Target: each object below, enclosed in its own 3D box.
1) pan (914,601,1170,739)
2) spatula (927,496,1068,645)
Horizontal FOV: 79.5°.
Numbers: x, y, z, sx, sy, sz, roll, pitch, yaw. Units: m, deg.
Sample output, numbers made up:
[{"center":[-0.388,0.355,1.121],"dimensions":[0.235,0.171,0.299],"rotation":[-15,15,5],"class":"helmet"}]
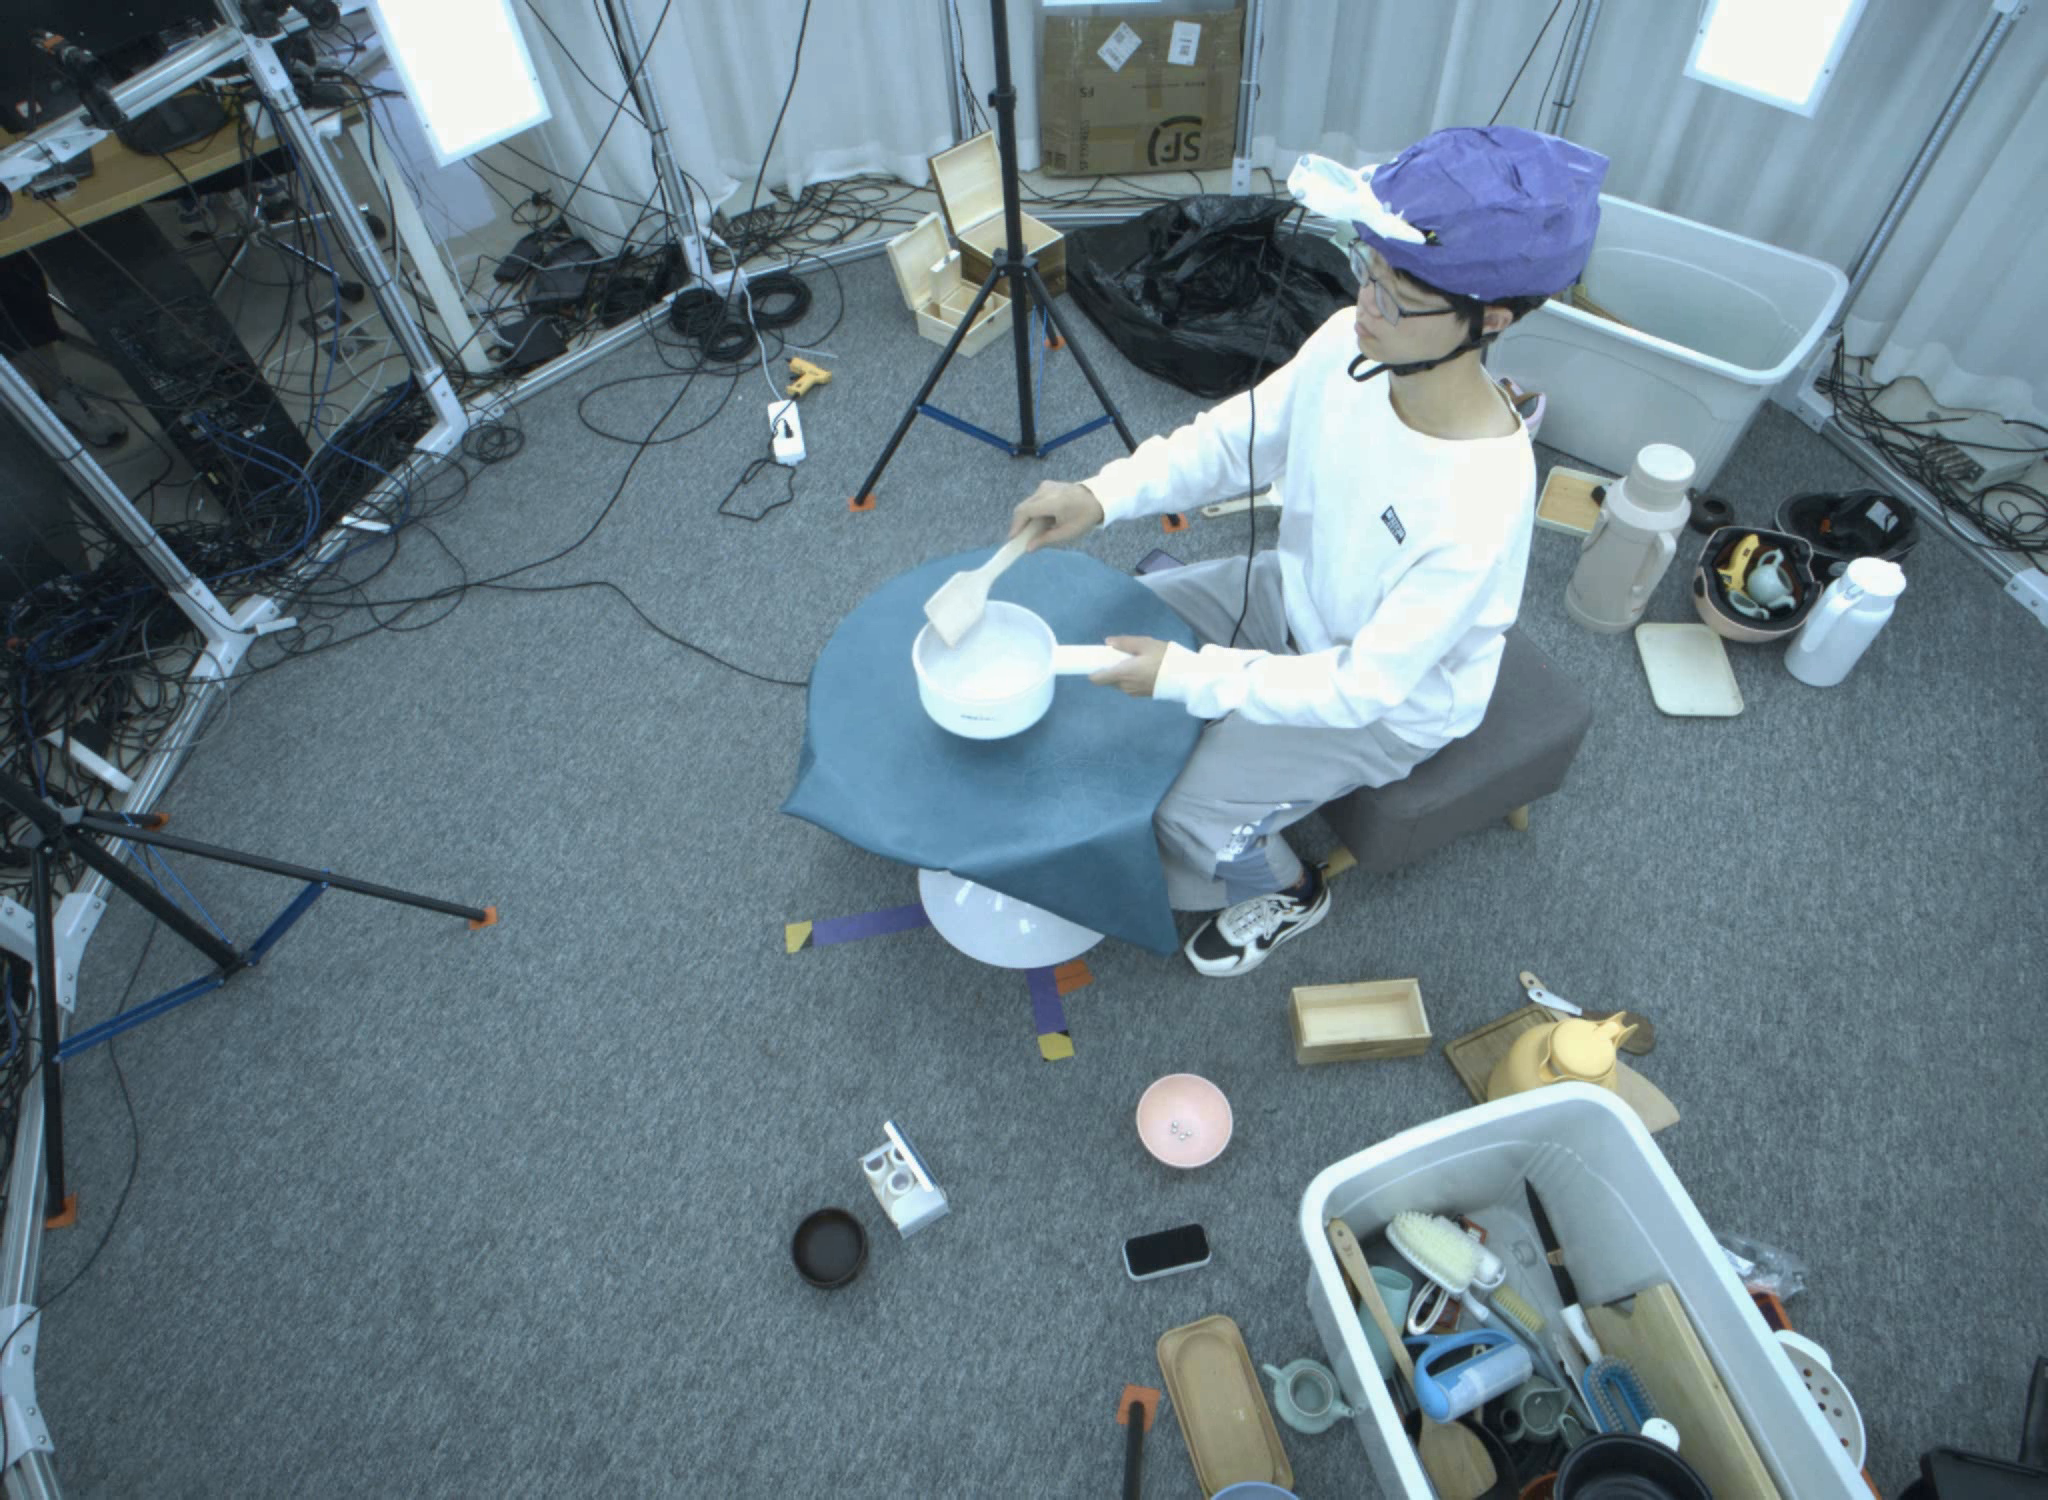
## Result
[{"center":[0.025,-0.106,1.738],"dimensions":[0.355,0.103,0.199],"rotation":[1,49,-1],"class":"pan"},{"center":[-0.031,-0.270,1.751],"dimensions":[0.010,0.073,0.294],"rotation":[9,51,51],"class":"spatula"}]
